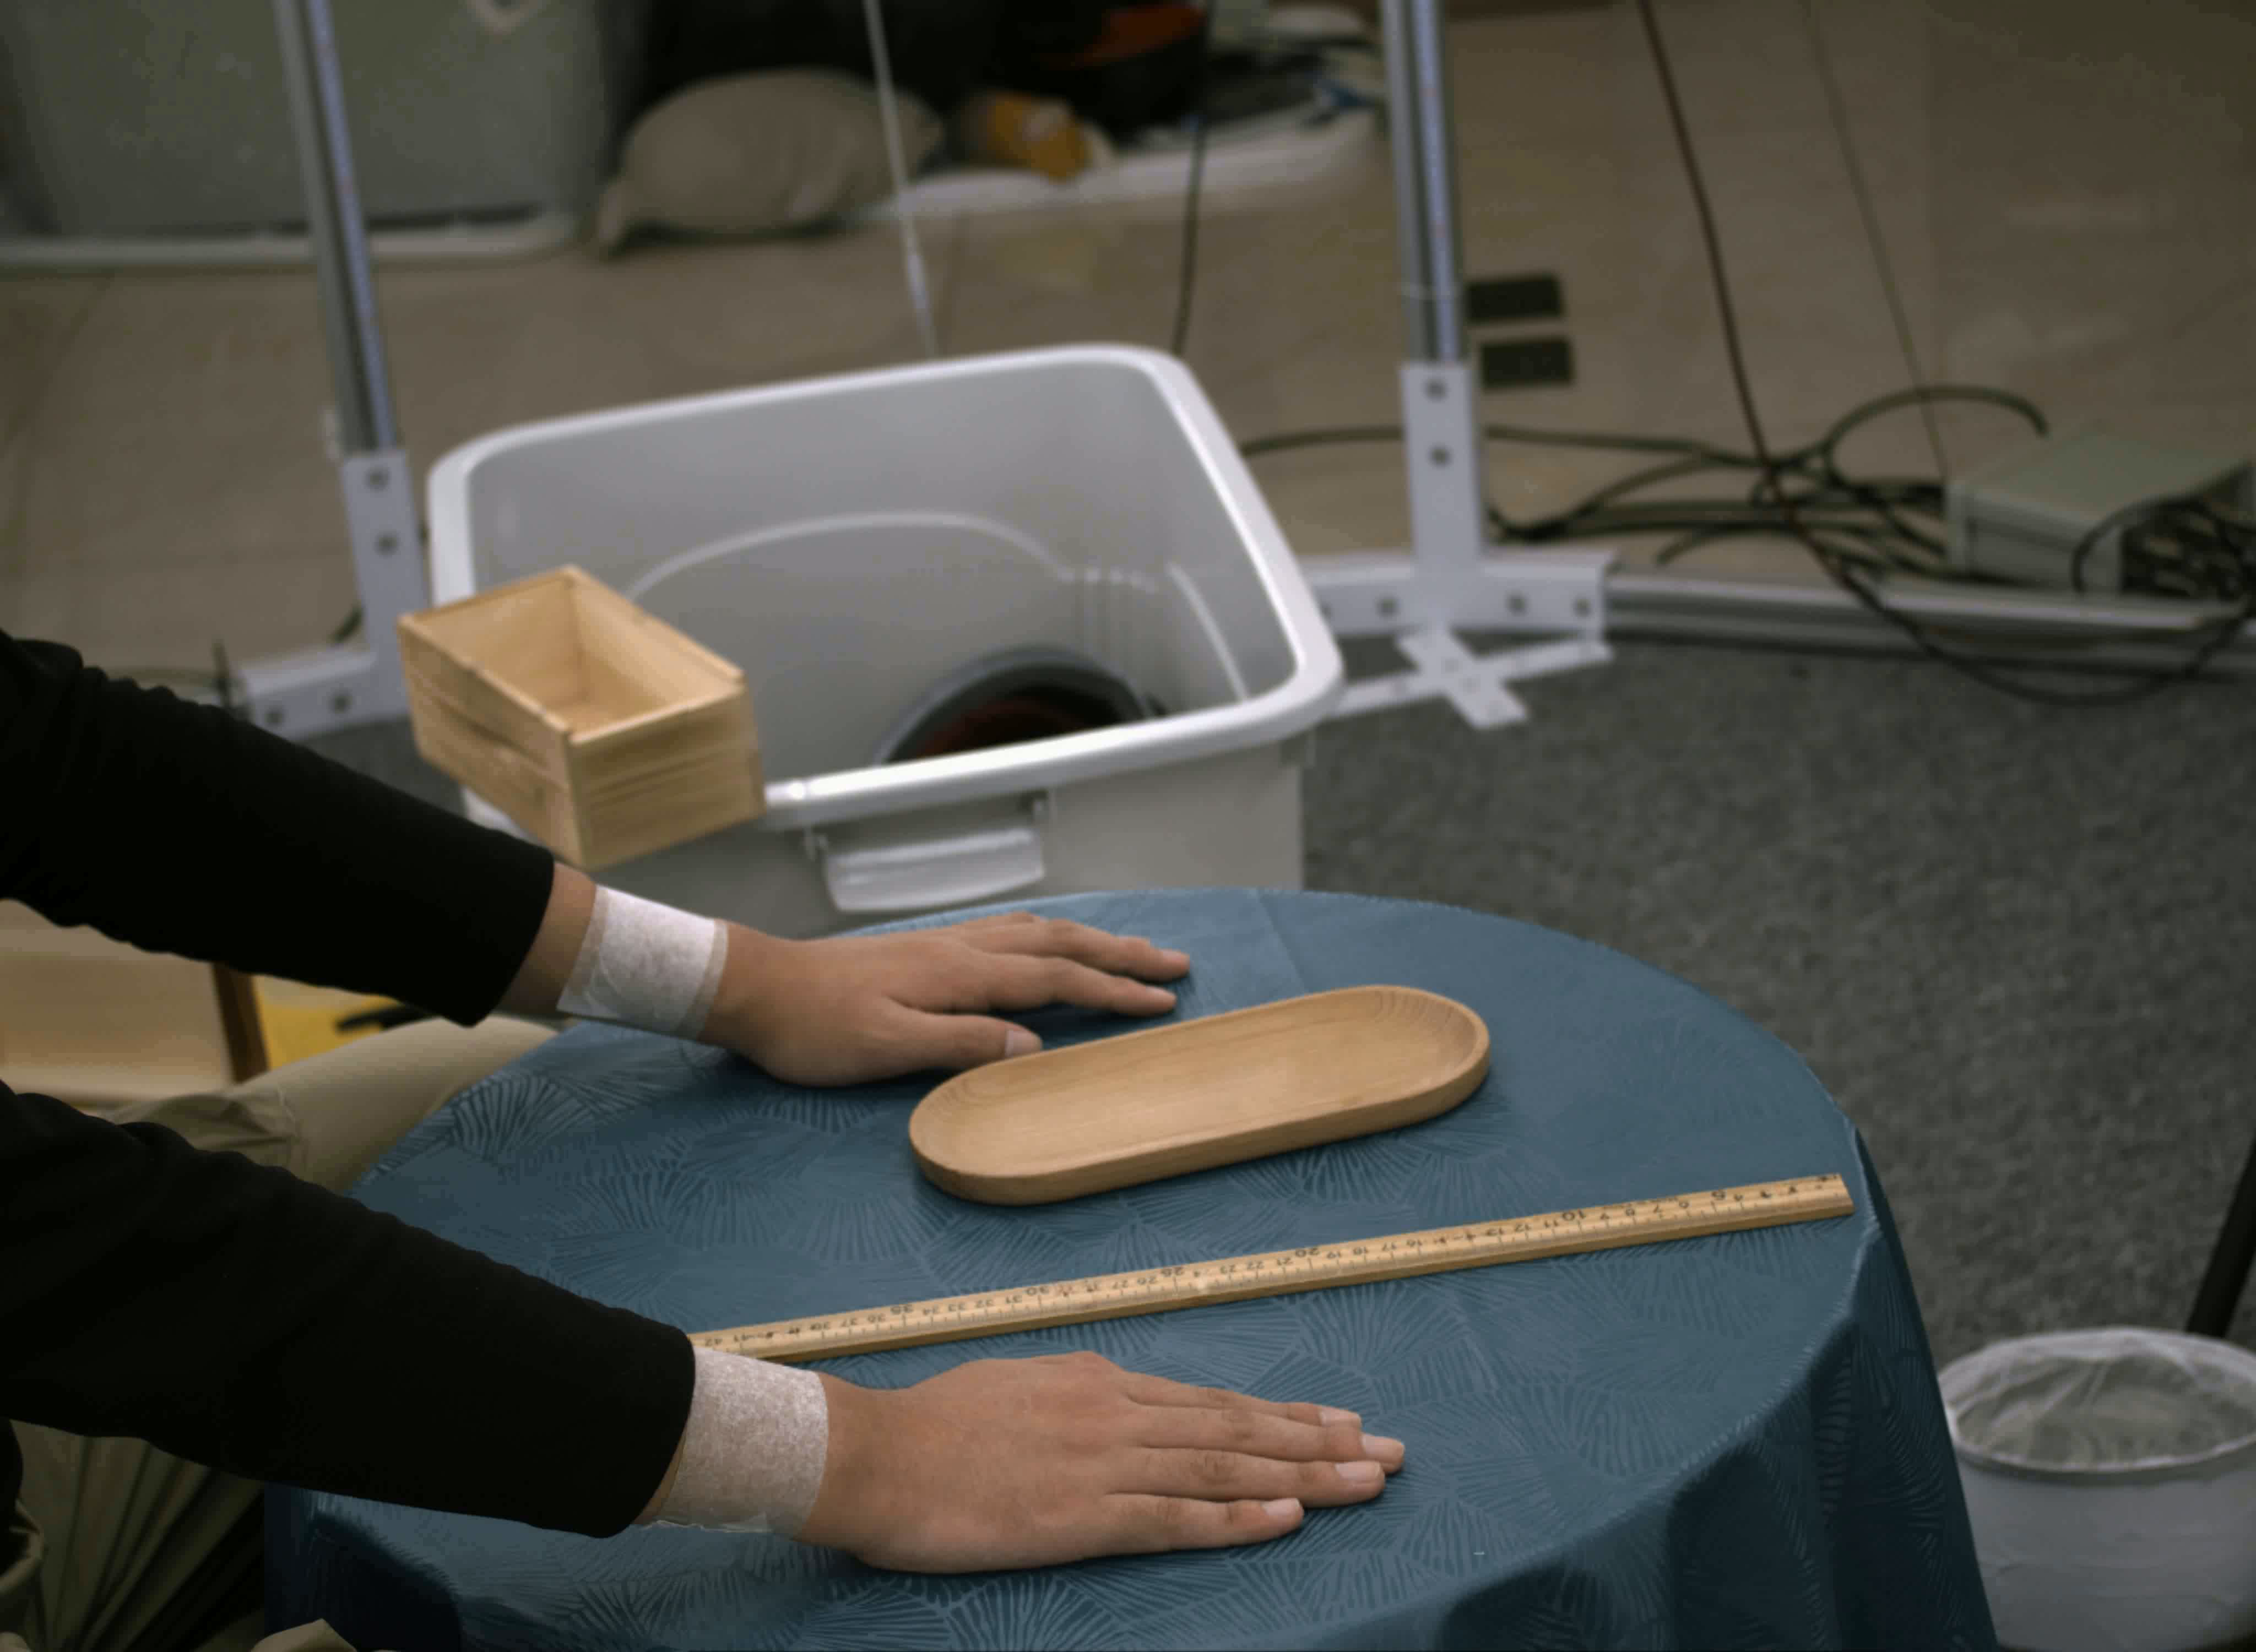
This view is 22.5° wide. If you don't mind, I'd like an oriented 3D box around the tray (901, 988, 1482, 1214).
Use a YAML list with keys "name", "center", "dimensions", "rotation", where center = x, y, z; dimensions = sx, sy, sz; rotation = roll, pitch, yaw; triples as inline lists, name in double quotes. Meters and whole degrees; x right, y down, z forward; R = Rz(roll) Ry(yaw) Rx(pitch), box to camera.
- name: "tray"
  center: [0.025, 0.106, 2.193]
  dimensions: [0.230, 0.020, 0.100]
  rotation: [-14, 24, -12]

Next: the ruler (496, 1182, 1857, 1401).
- name: "ruler"
  center: [0.018, 0.169, 2.074]
  dimensions: [0.499, 0.006, 0.026]
  rotation: [-8, 23, -2]
